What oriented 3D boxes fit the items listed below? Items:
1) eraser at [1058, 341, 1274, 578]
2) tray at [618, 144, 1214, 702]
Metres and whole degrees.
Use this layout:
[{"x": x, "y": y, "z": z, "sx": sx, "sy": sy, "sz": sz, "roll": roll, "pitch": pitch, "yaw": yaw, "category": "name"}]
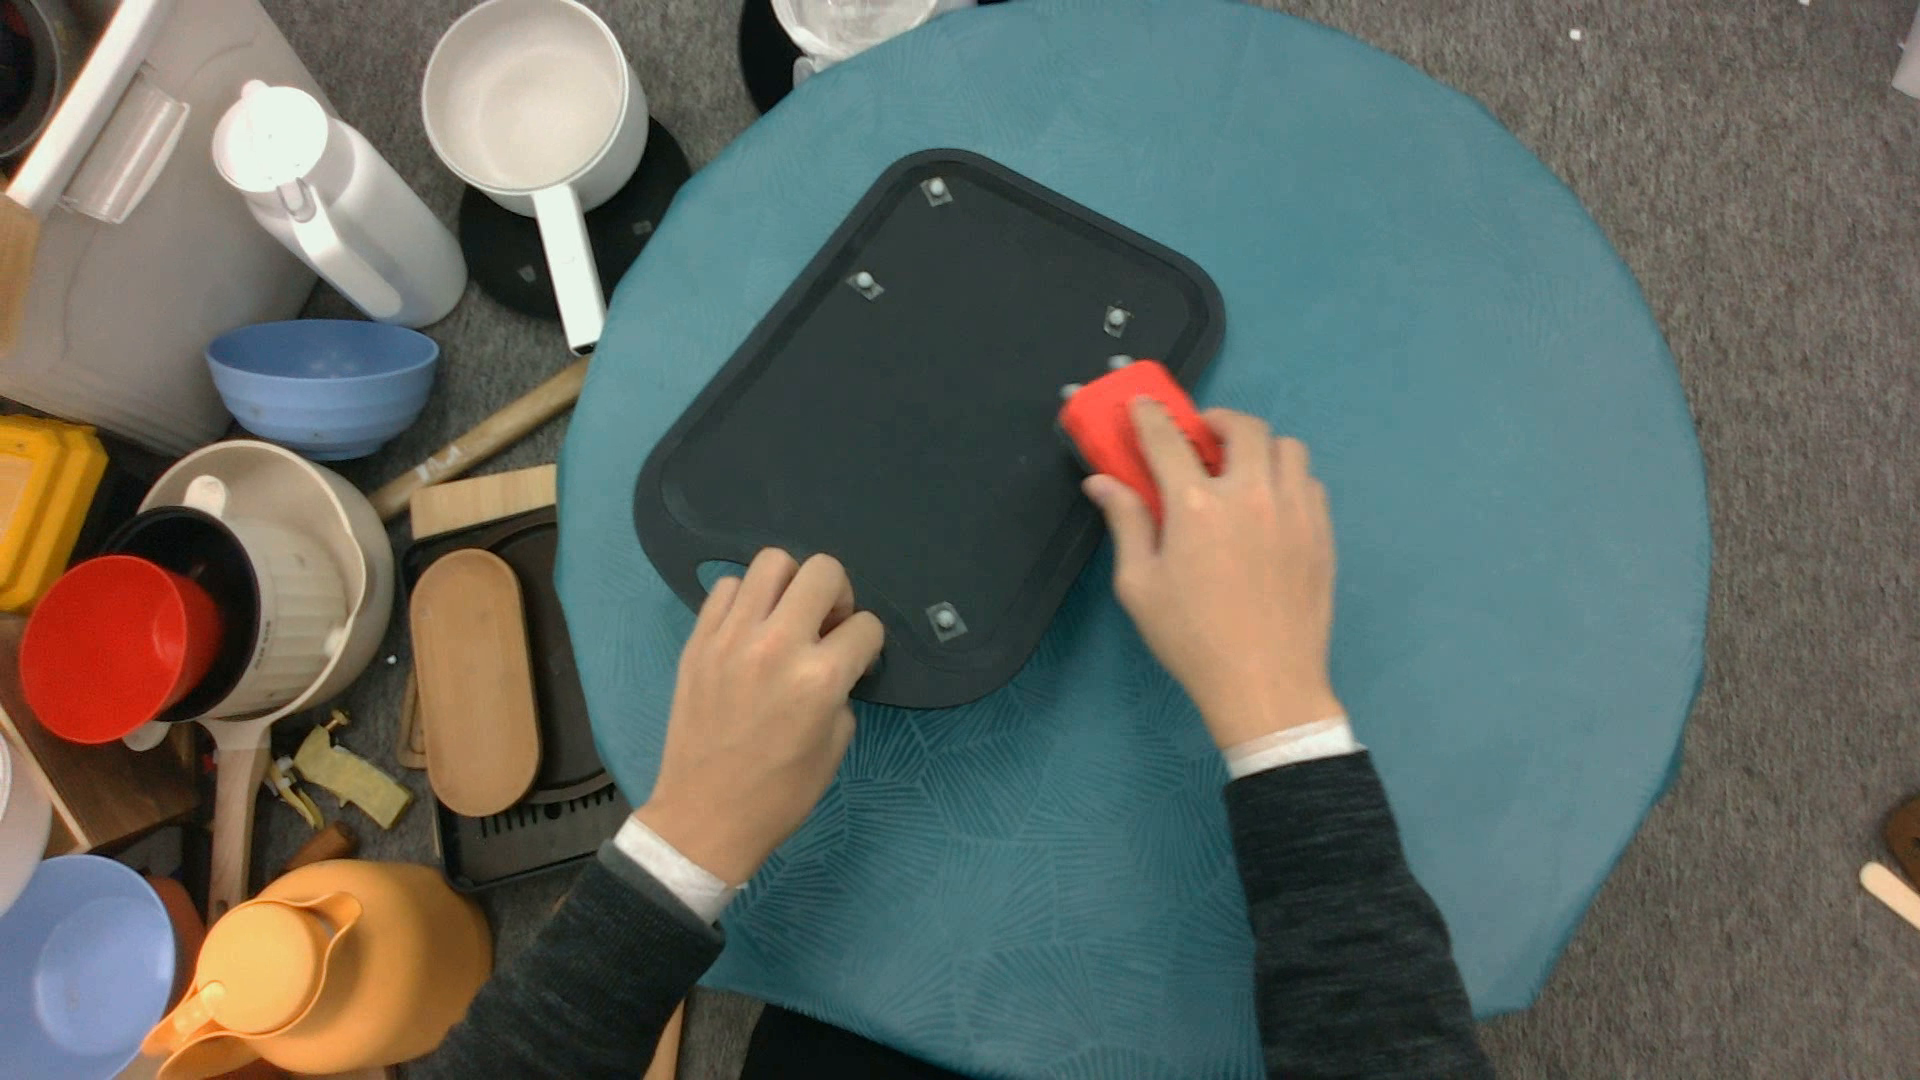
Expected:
[{"x": 0.097, "y": -0.039, "z": 0.656, "sx": 0.059, "sy": 0.023, "sz": 0.108, "roll": -29, "pitch": 79, "yaw": -20, "category": "eraser"}, {"x": -0.017, "y": -0.071, "z": 0.694, "sx": 0.211, "sy": 0.010, "sz": 0.327, "roll": 29, "pitch": 62, "yaw": 11, "category": "tray"}]
